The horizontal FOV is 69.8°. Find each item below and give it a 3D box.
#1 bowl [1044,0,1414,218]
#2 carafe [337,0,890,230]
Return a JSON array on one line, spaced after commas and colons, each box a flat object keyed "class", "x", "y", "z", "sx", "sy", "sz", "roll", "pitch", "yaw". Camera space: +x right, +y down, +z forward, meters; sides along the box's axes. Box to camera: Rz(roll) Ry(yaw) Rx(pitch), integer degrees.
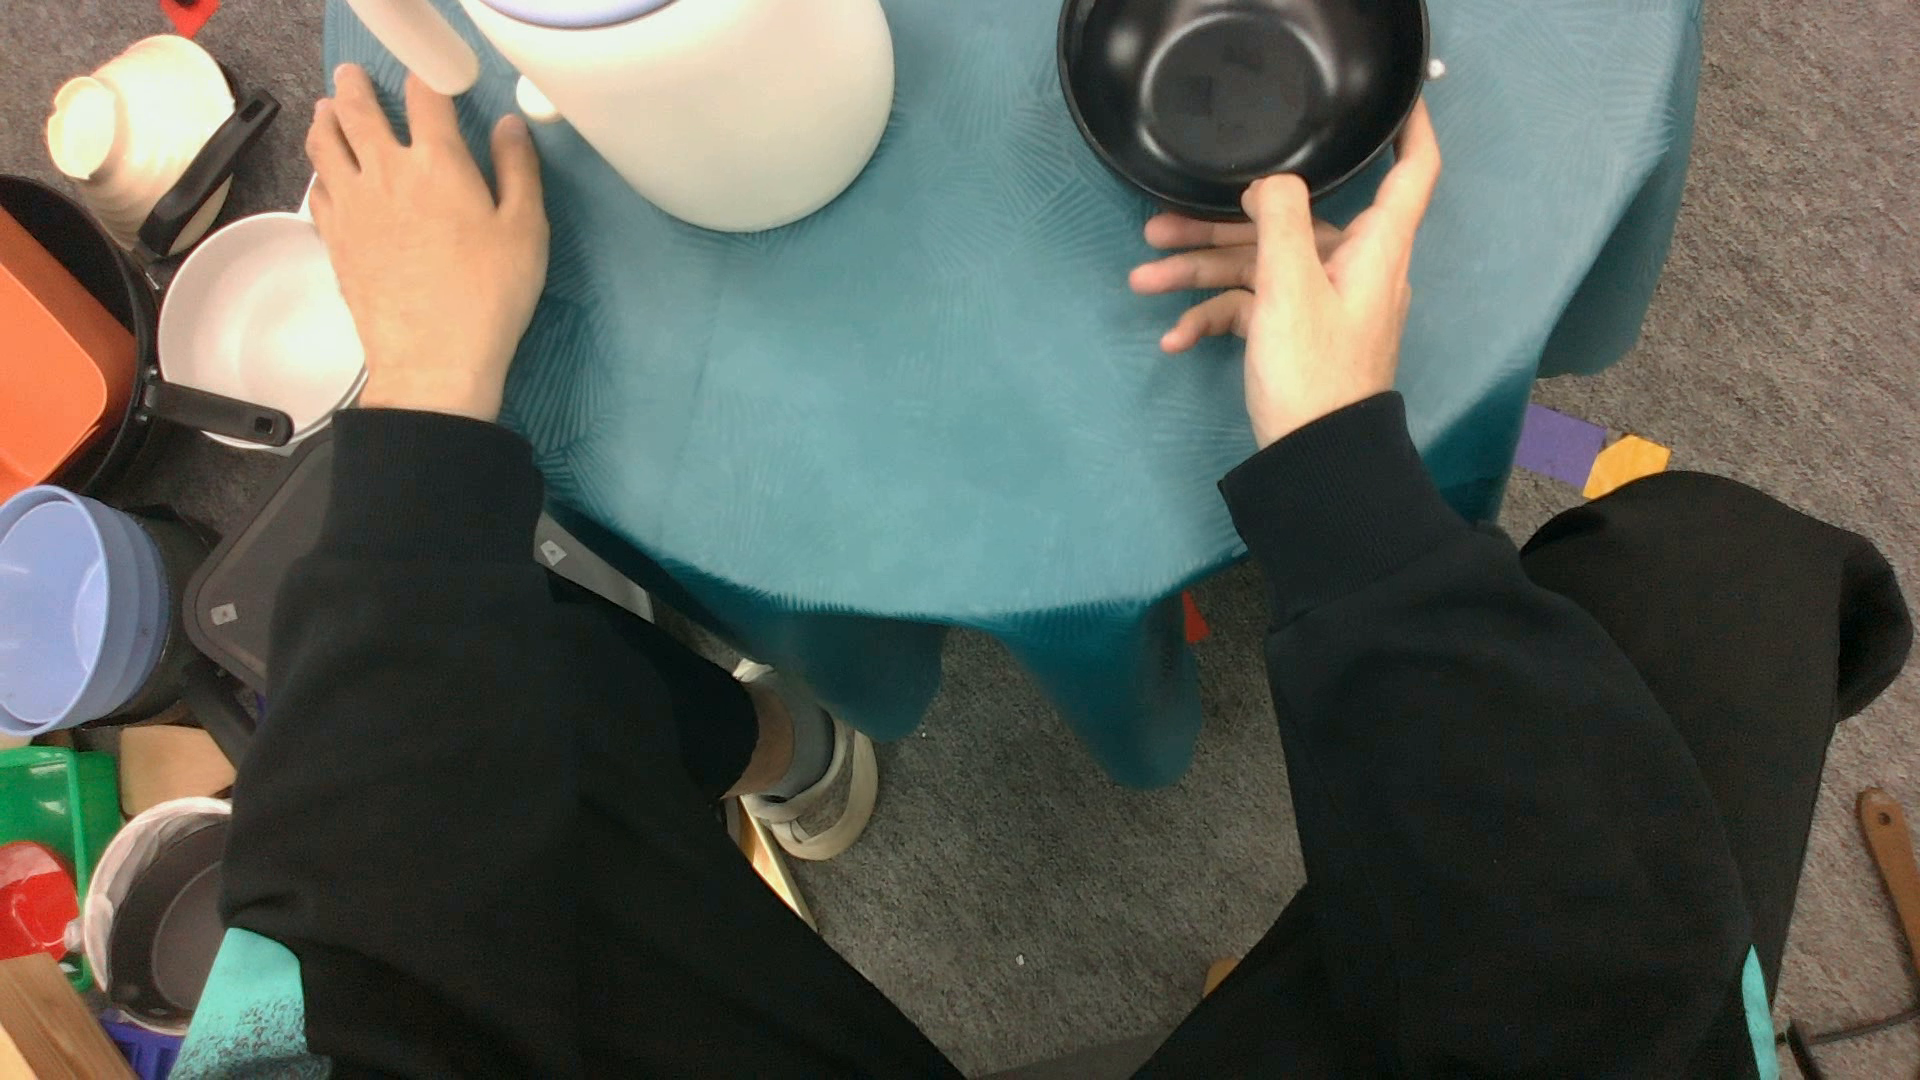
[{"class": "bowl", "x": 0.103, "y": -0.187, "z": 0.544, "sx": 0.140, "sy": 0.050, "sz": 0.140, "roll": -1, "pitch": 80, "yaw": 5}, {"class": "carafe", "x": -0.130, "y": -0.204, "z": 0.522, "sx": 0.191, "sy": 0.182, "sz": 0.132, "roll": -9, "pitch": 79, "yaw": 9}]
